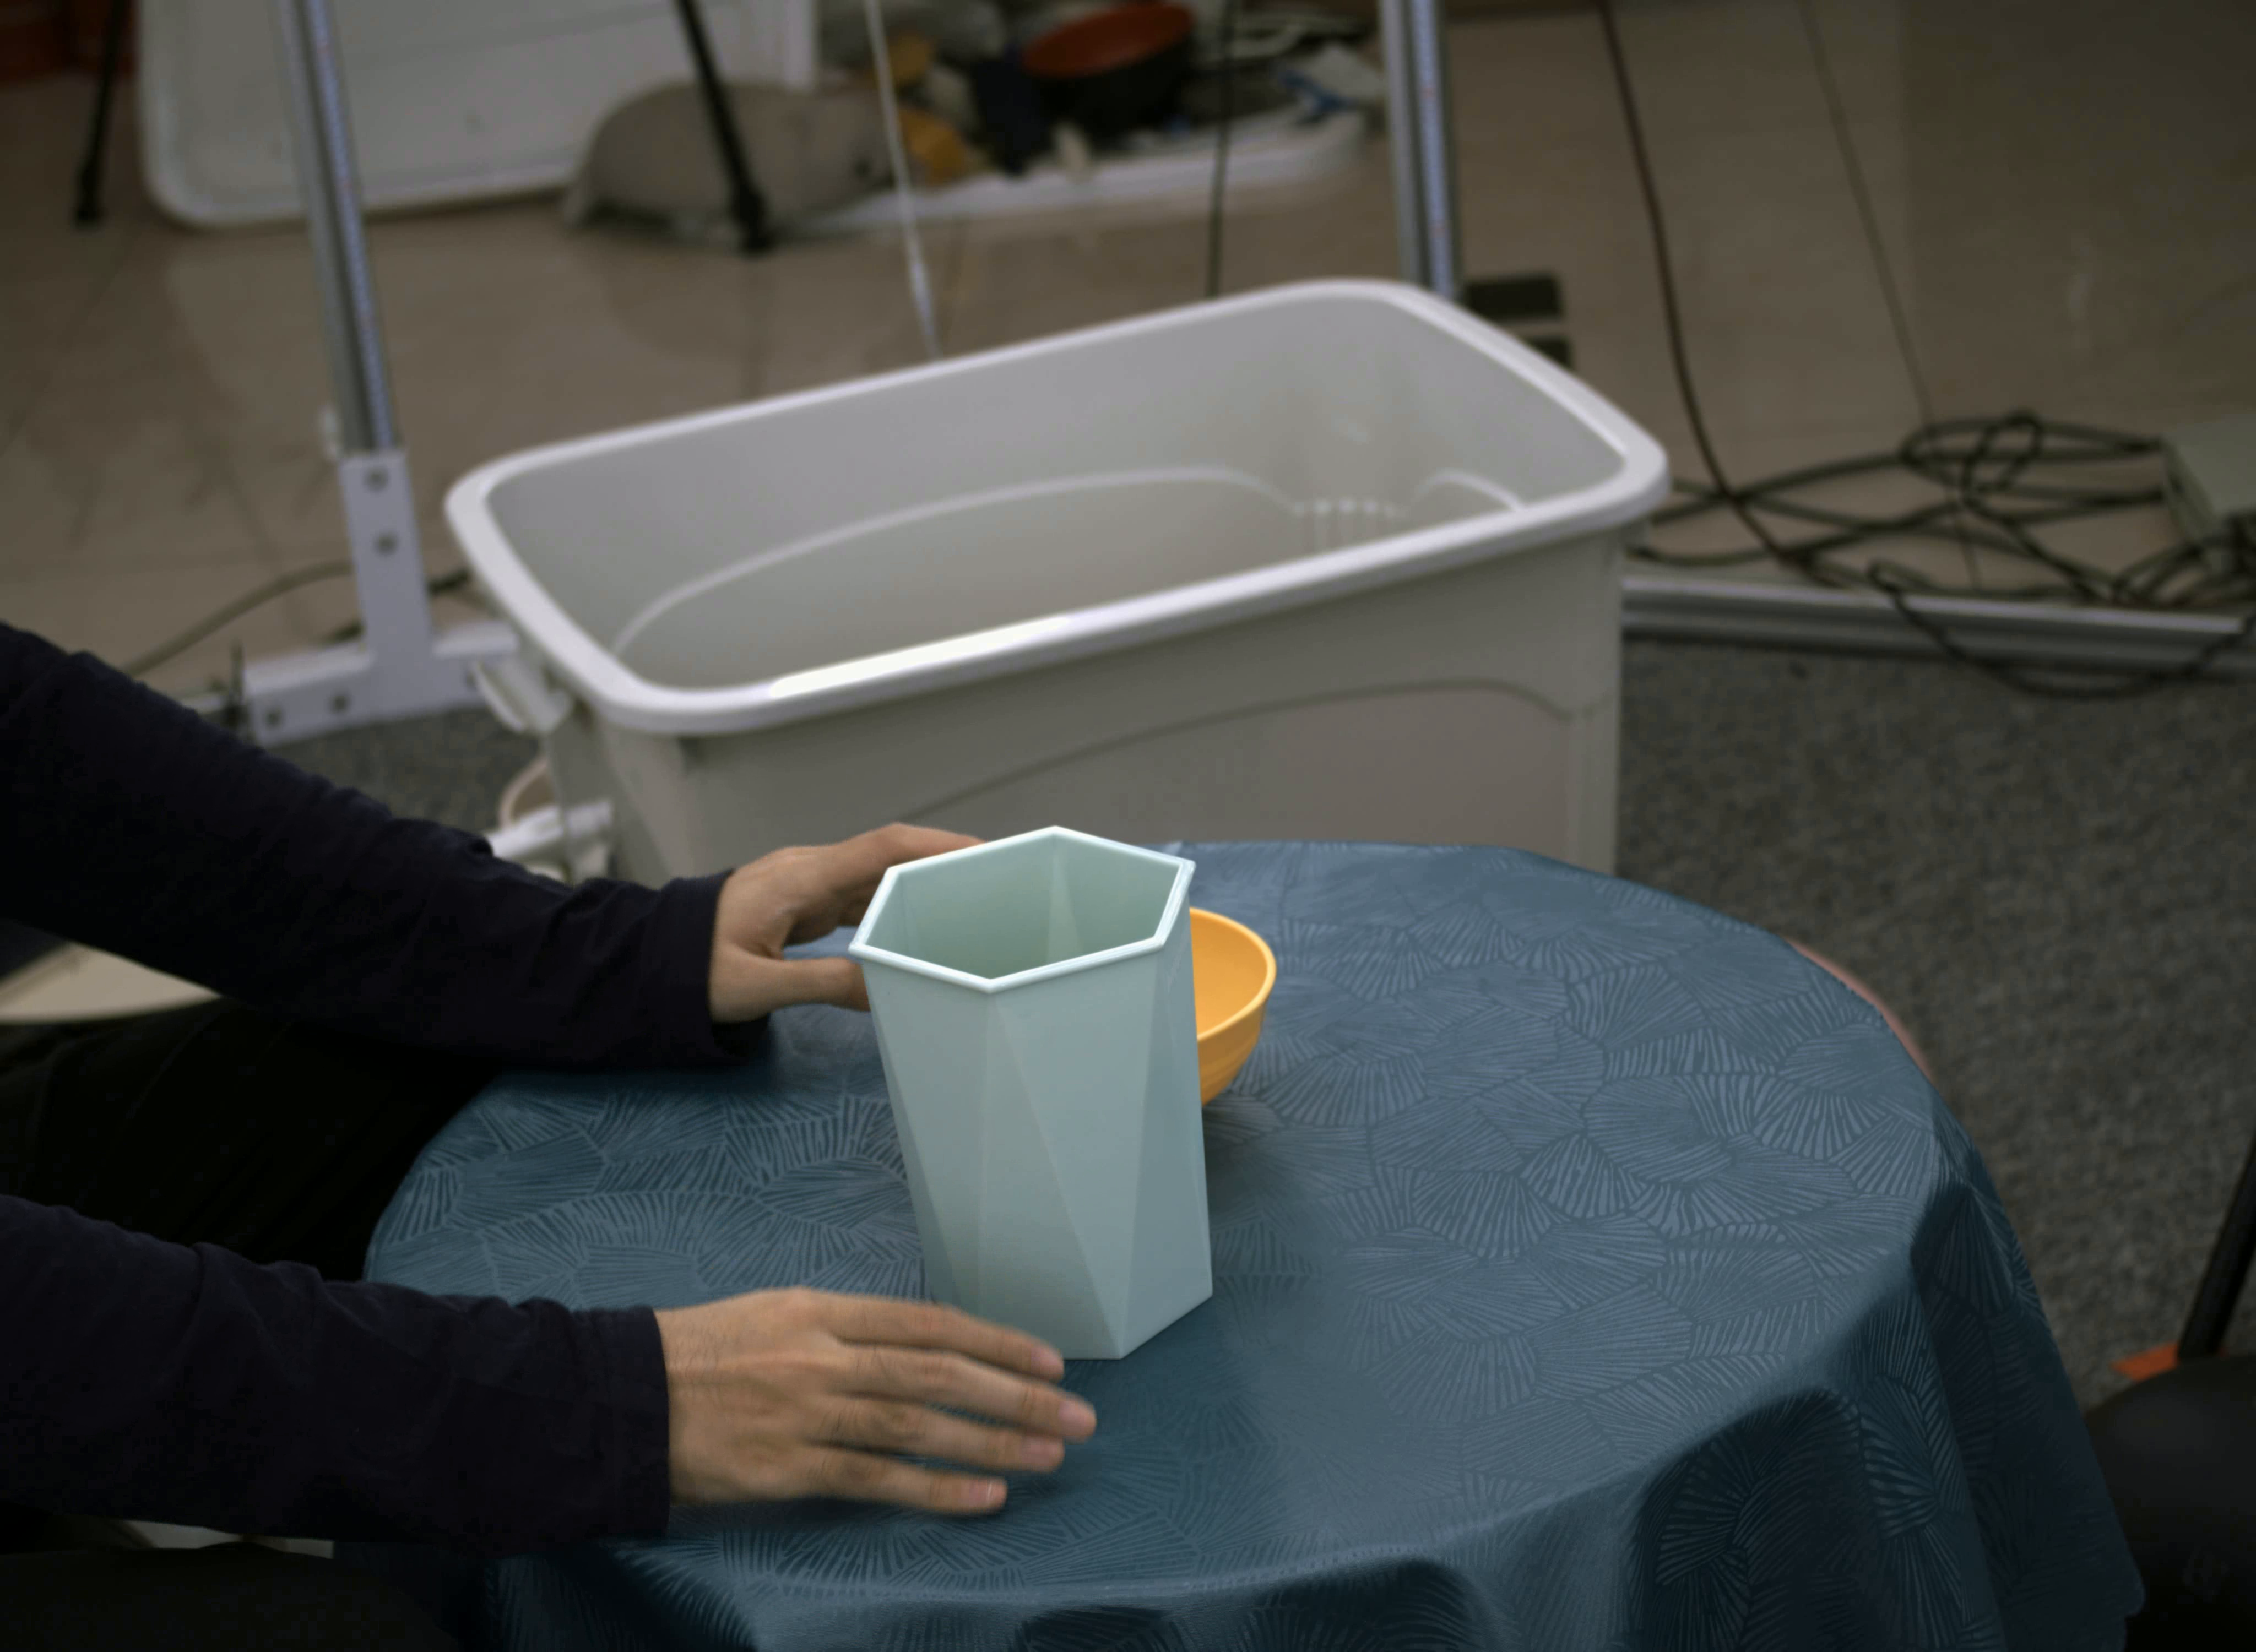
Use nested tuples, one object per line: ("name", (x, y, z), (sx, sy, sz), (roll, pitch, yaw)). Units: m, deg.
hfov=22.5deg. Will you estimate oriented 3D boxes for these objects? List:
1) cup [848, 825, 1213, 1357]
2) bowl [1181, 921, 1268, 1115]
("cup", (-0.028, 0.098, 2.044), (0.115, 0.165, 0.129), (-3, 25, 10))
("bowl", (-0.014, 0.090, 2.195), (0.145, 0.061, 0.143), (-7, 23, 3))
